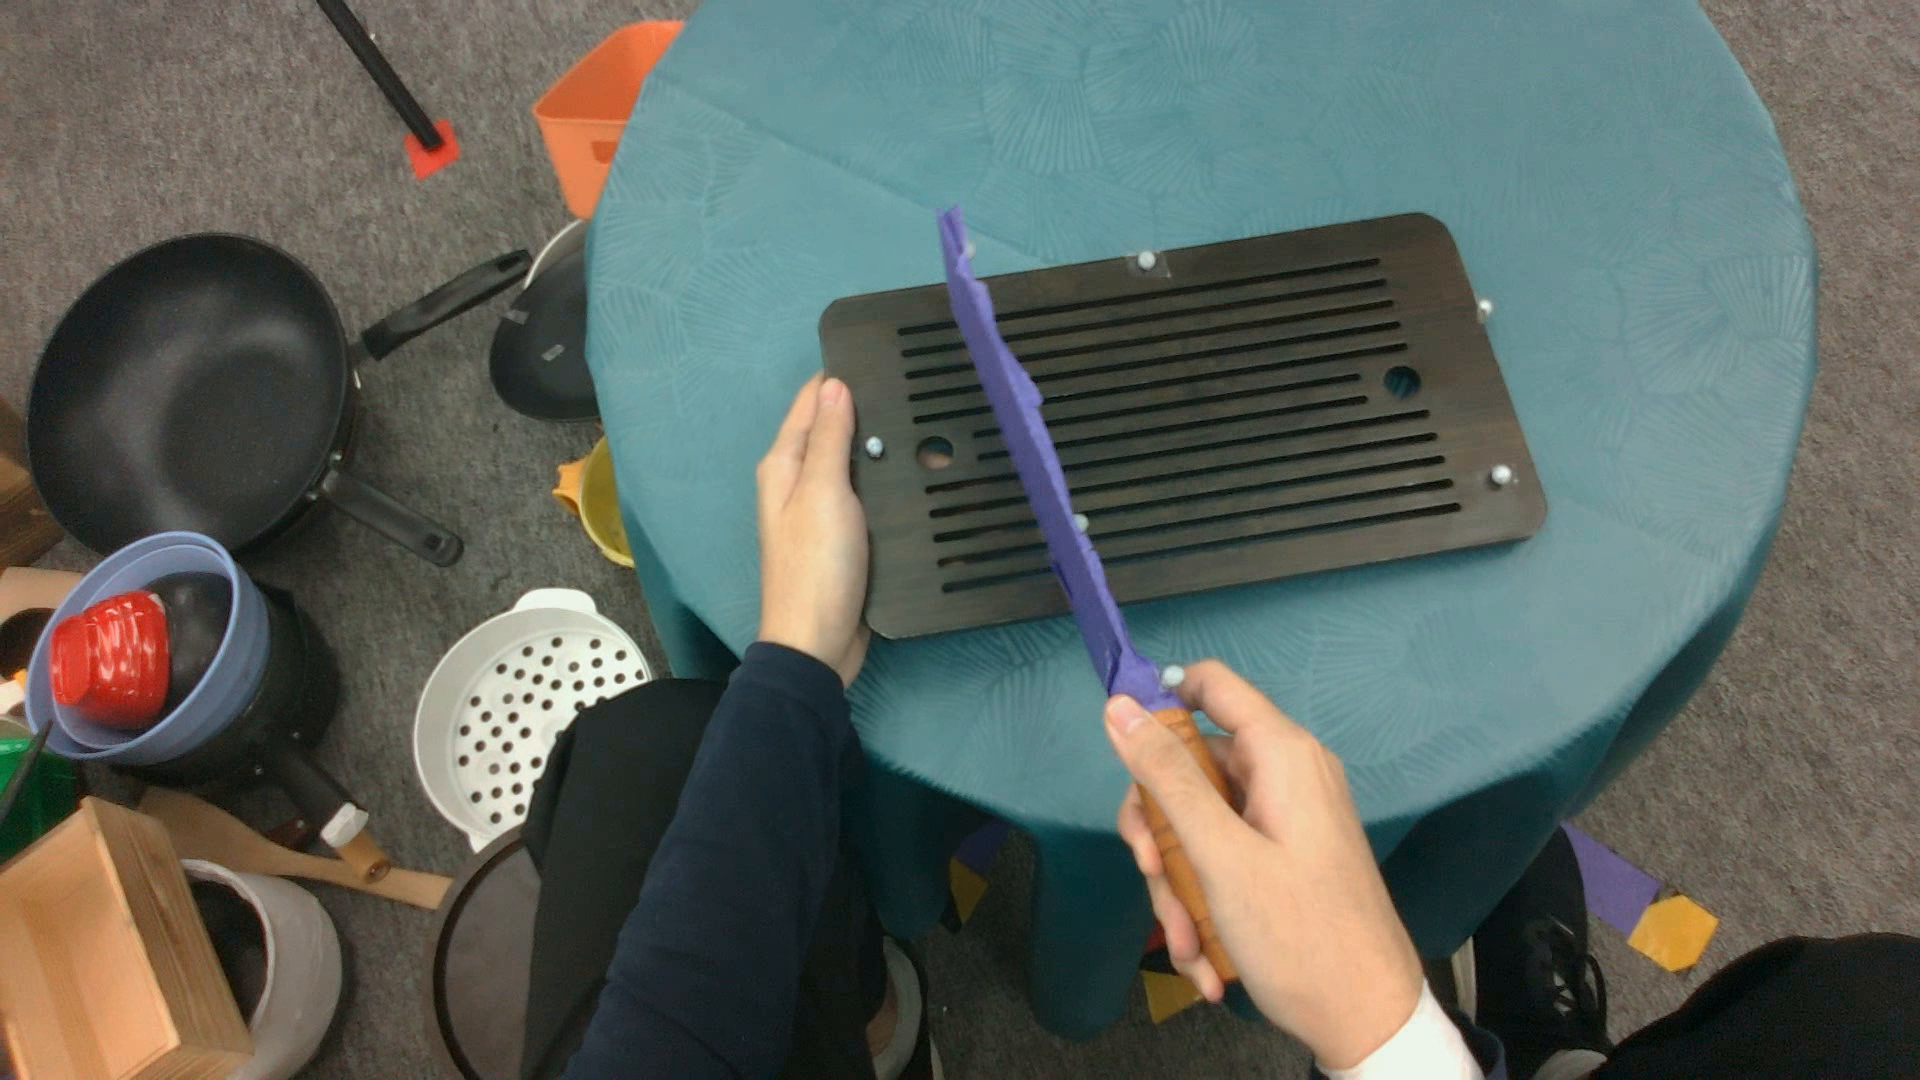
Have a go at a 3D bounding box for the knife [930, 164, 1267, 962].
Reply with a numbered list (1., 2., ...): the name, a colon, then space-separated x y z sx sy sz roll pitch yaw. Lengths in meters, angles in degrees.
1. knife: 0.044 0.005 0.539 0.032 0.103 0.316 -18 72 -3

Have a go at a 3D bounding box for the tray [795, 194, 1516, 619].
1. tray: 0.086 -0.065 0.631 0.306 0.018 0.170 -9 69 -5
